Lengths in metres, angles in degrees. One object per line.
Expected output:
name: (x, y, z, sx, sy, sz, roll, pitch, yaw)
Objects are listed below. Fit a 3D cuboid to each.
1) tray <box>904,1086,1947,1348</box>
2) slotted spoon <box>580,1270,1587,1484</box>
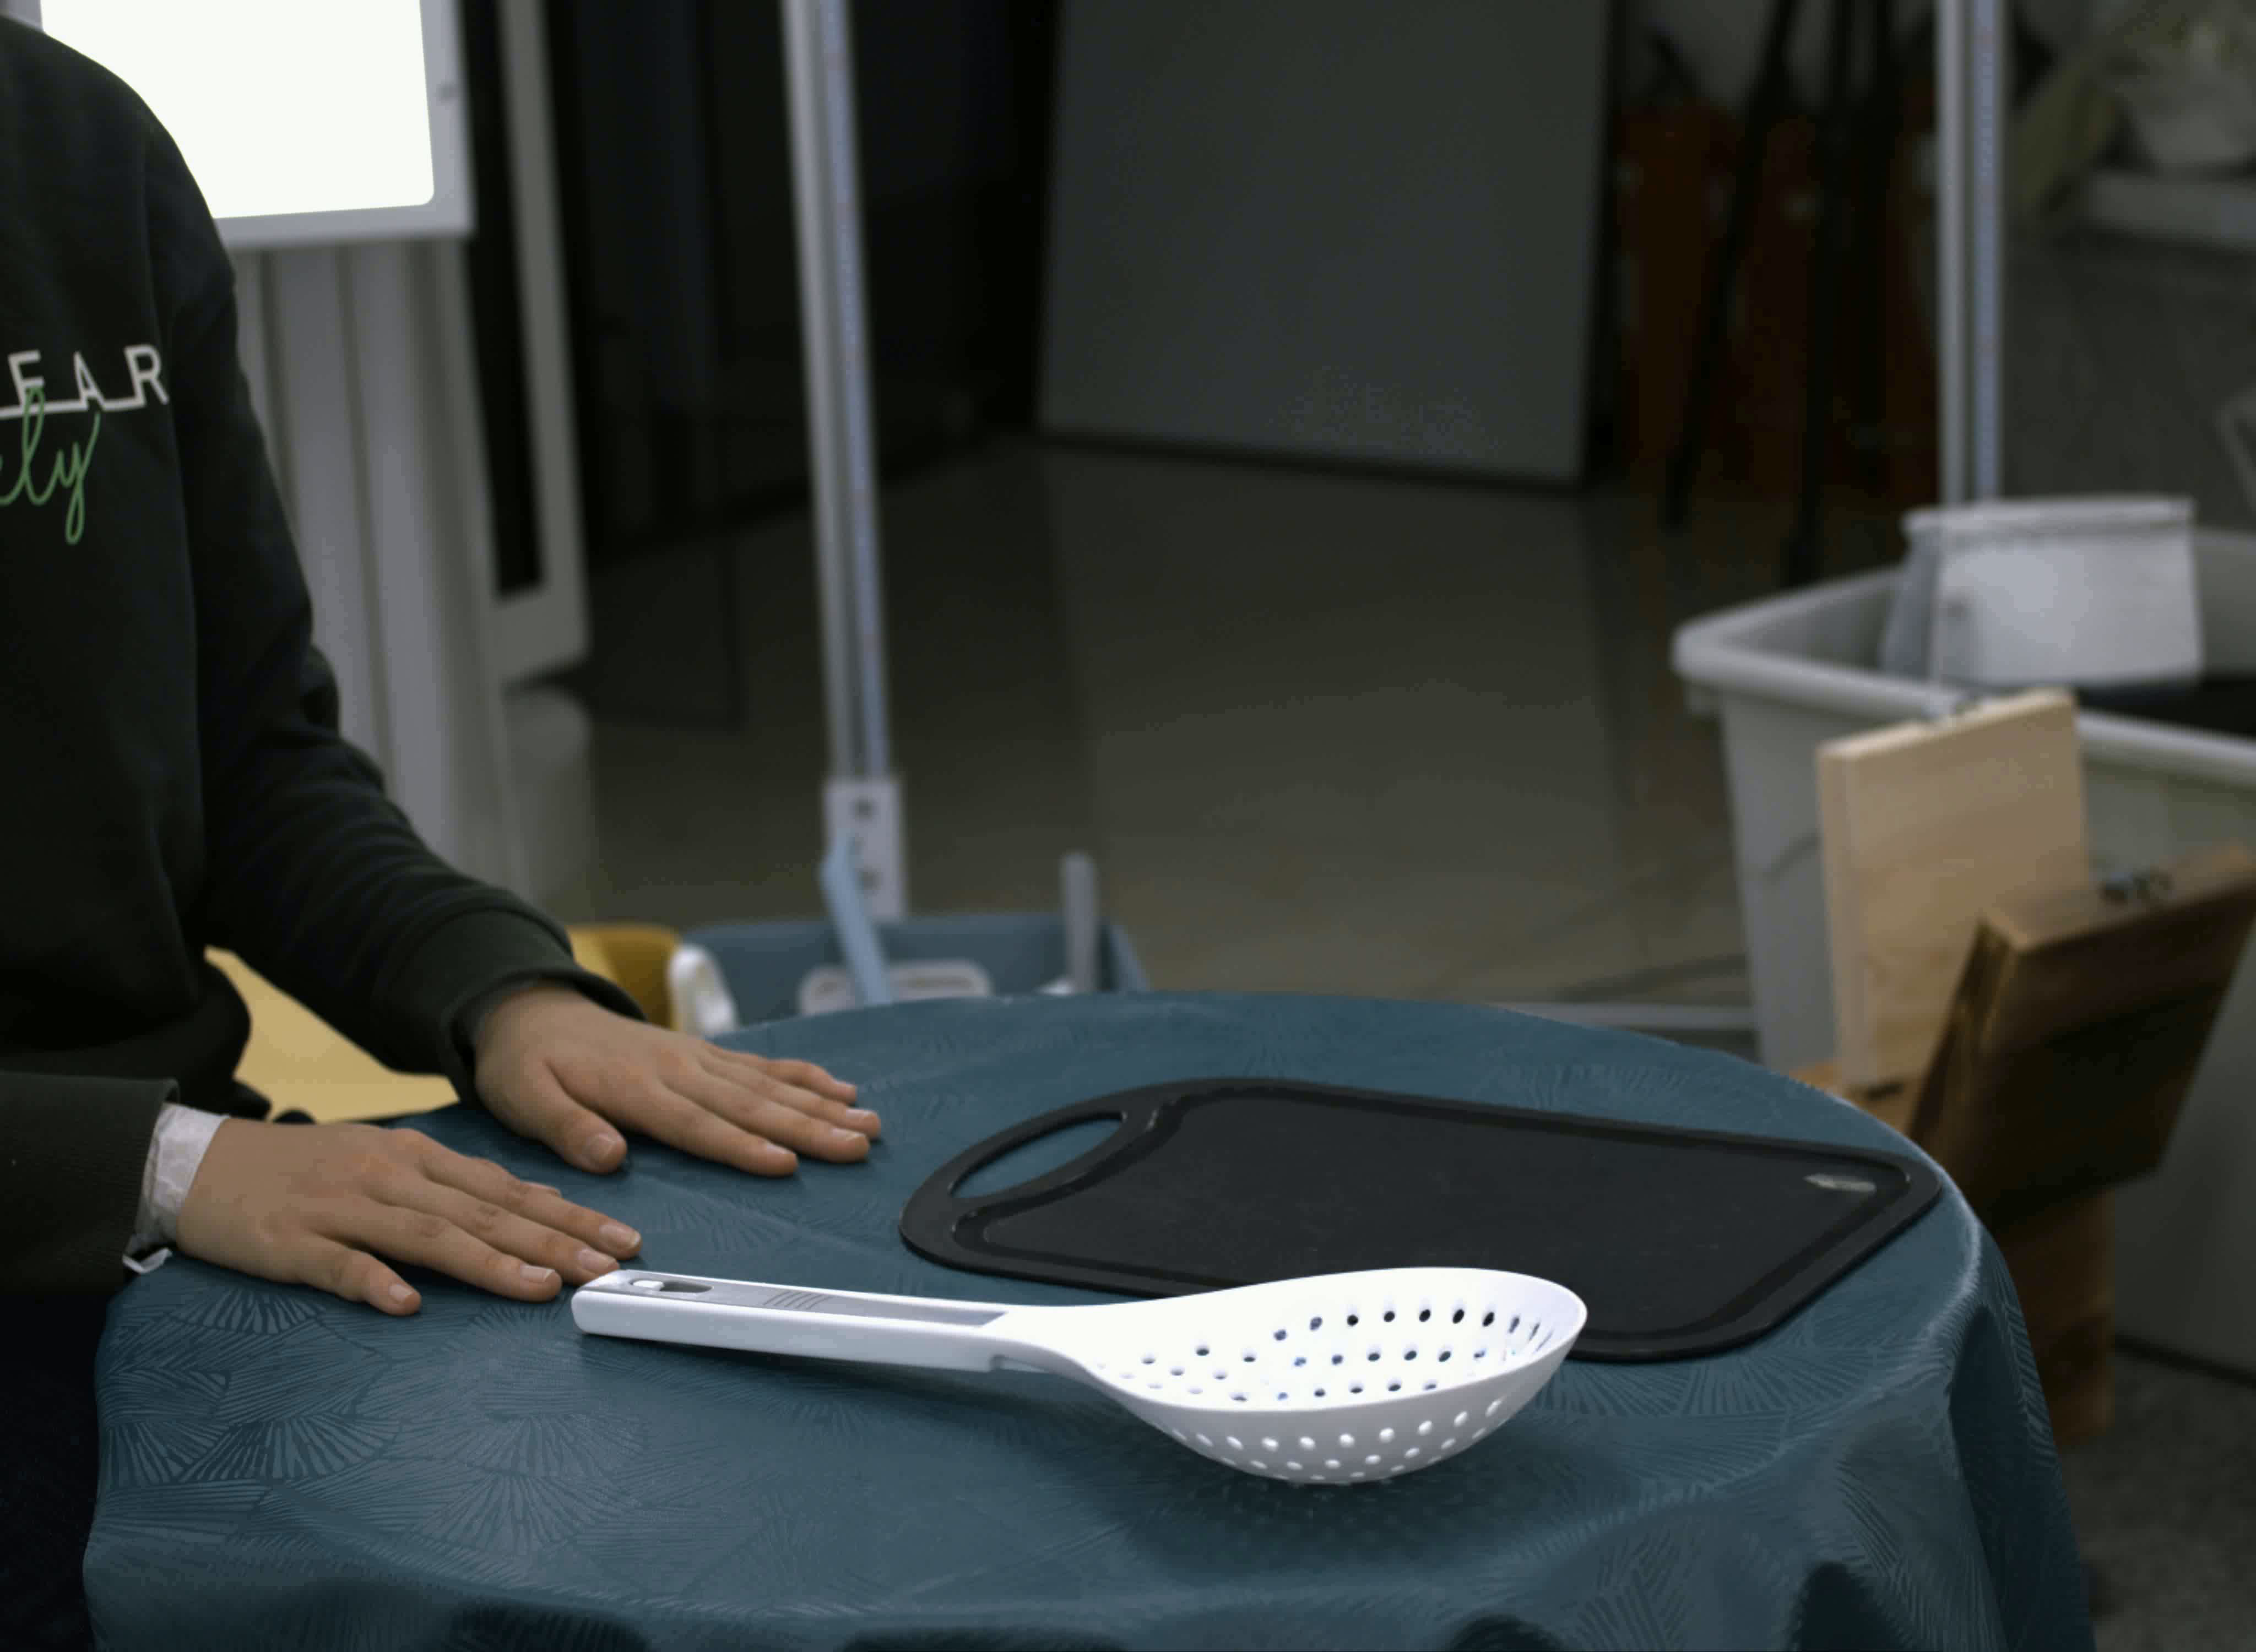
tray: (0.087, 0.121, 1.732, 0.327, 0.010, 0.207, 4, 16, 33)
slotted spoon: (-0.024, 0.149, 1.569, 0.352, 0.046, 0.133, 5, 14, 36)
